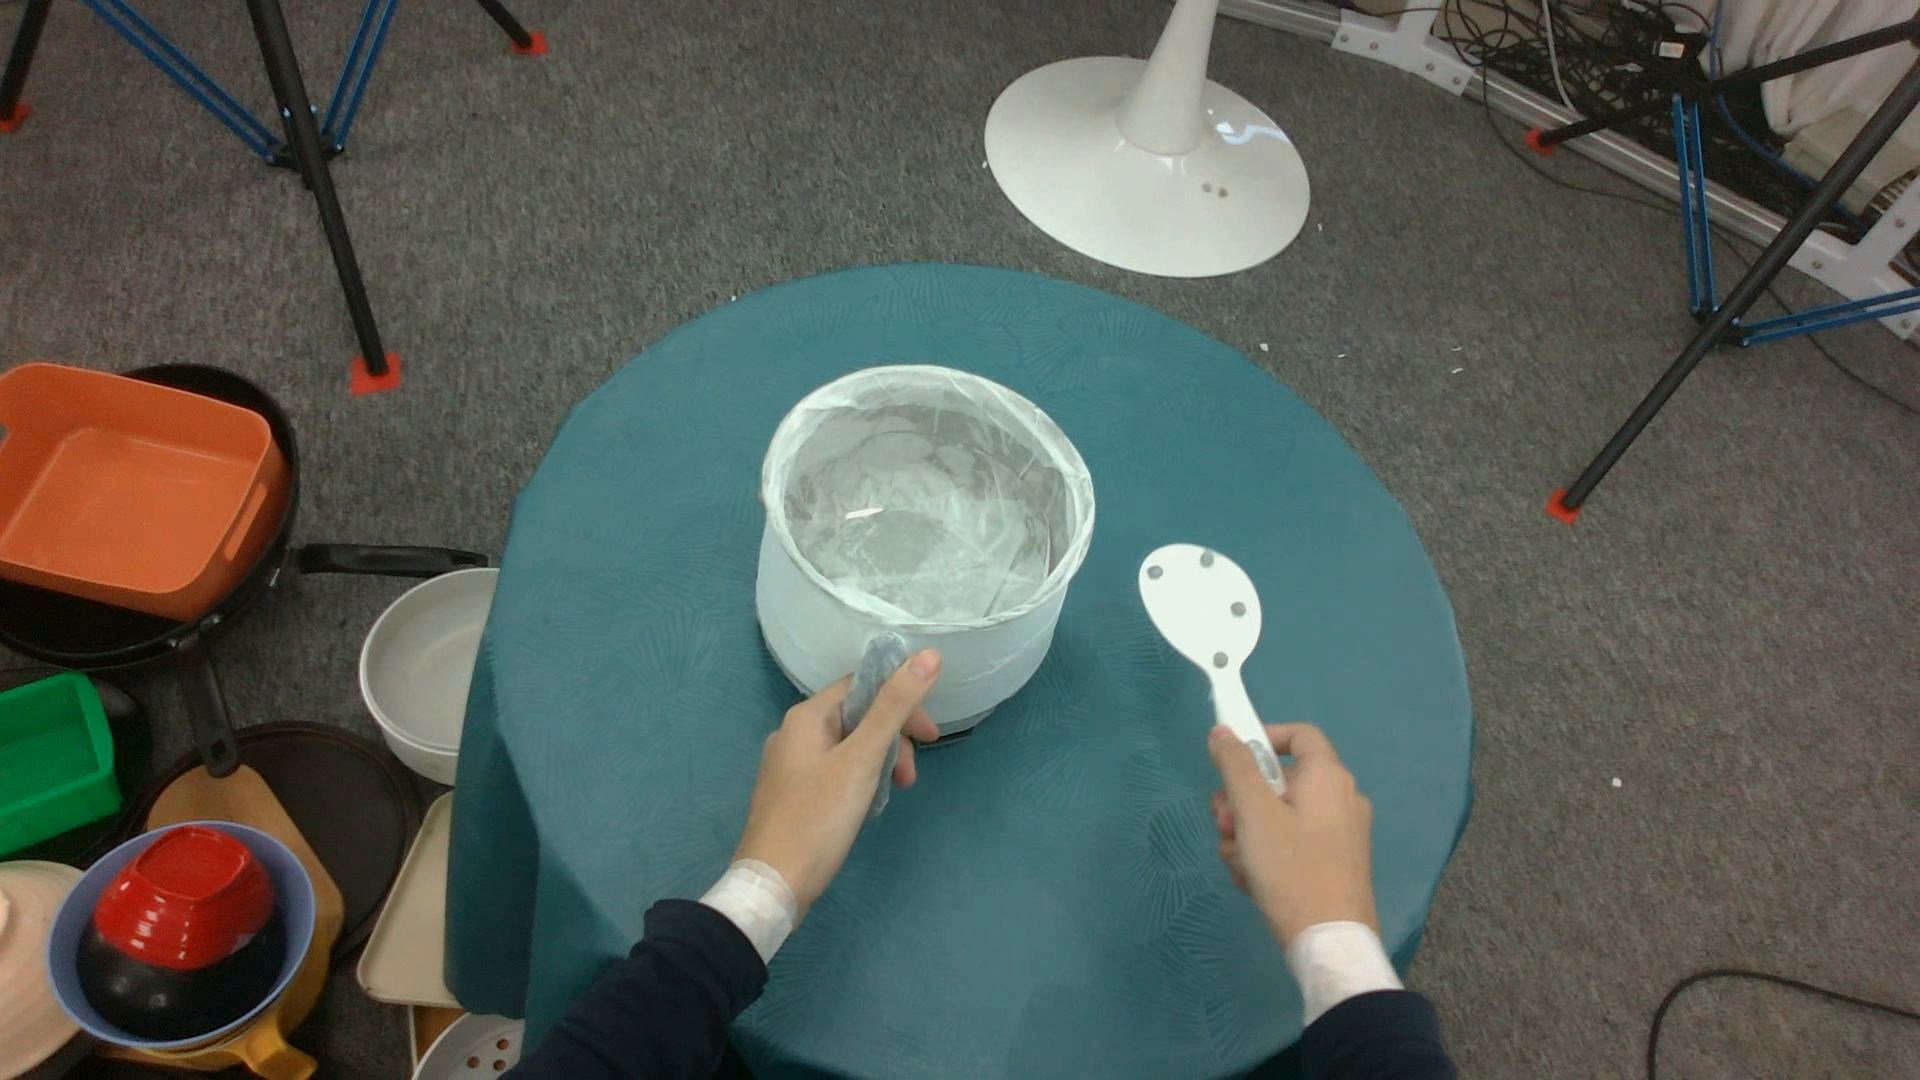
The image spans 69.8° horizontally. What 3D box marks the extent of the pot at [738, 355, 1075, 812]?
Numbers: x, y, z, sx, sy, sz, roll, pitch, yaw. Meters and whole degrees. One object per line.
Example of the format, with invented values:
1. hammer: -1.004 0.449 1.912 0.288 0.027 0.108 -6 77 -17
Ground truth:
1. pot: -0.040 0.027 0.757 0.179 0.136 0.235 13 54 0

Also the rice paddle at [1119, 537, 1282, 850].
1. rice paddle: 0.131 0.070 0.742 0.069 0.029 0.206 3 45 -12
